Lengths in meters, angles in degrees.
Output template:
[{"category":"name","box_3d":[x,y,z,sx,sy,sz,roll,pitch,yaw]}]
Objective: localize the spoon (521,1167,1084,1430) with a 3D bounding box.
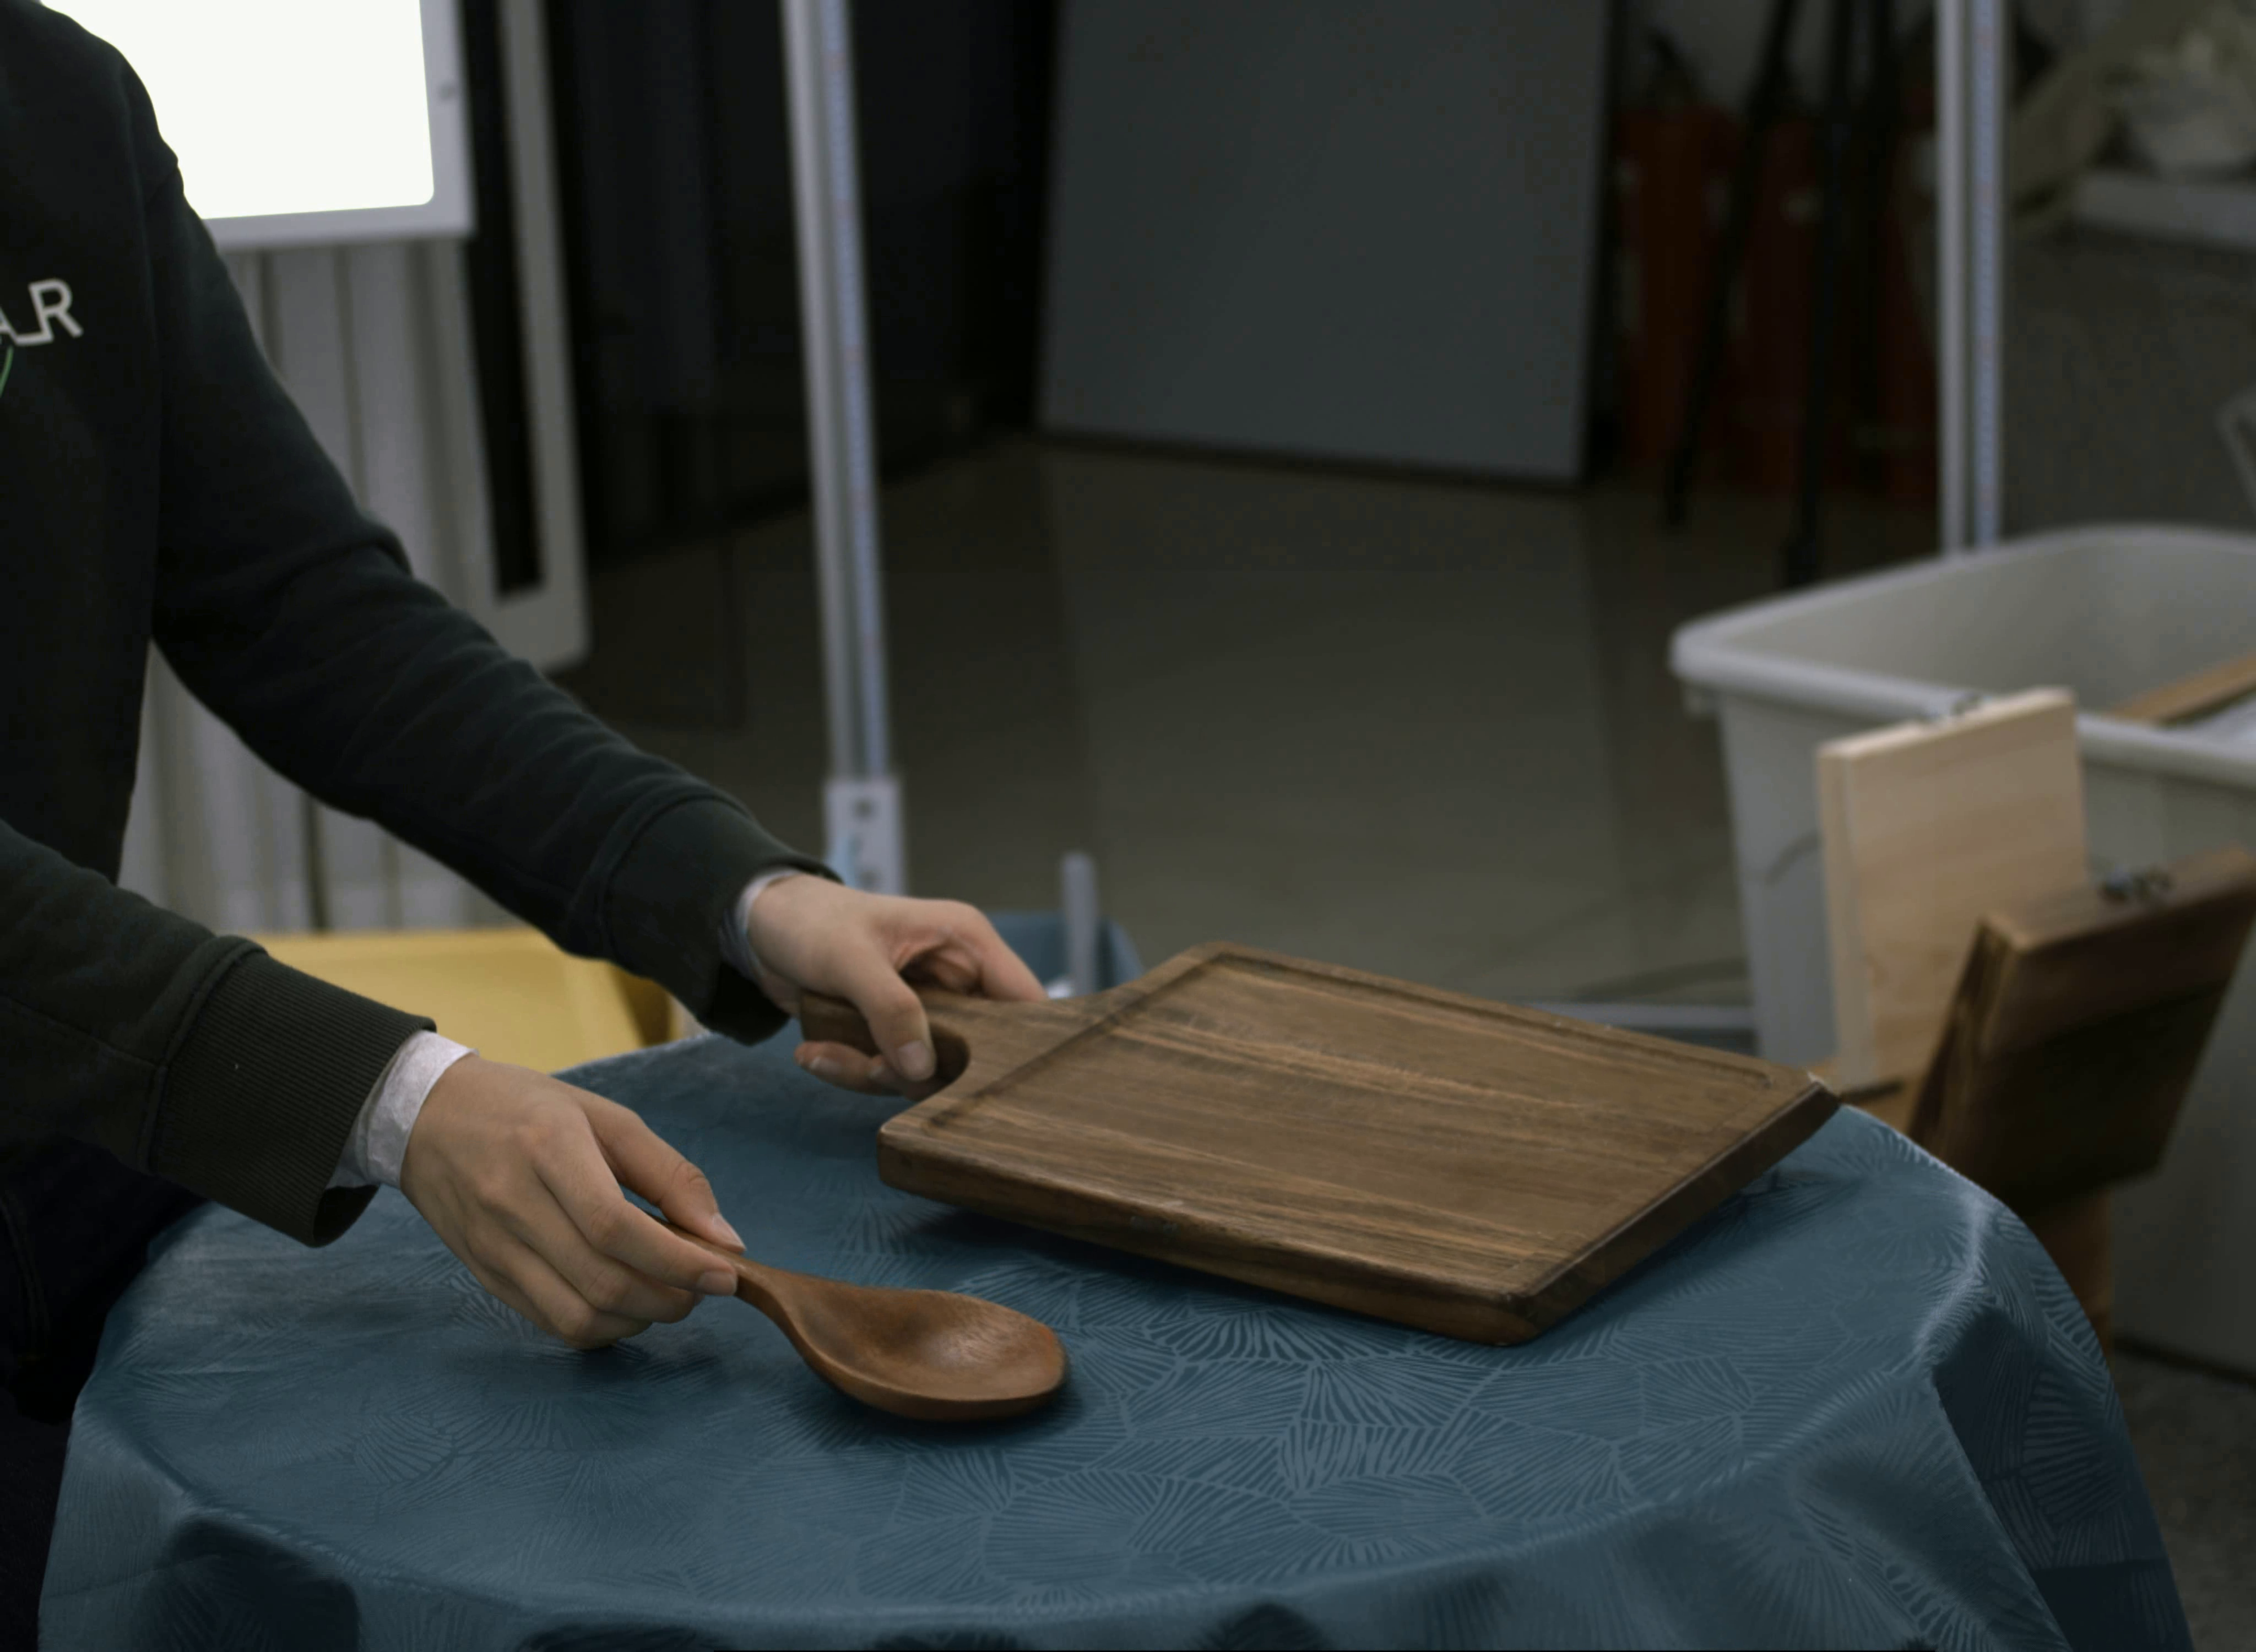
[{"category":"spoon","box_3d":[-0.103,0.142,1.628,0.217,0.017,0.074,20,26,37]}]

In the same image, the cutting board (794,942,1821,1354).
[{"category":"cutting board","box_3d":[0.032,0.091,1.767,0.354,0.023,0.198,11,26,35]}]
